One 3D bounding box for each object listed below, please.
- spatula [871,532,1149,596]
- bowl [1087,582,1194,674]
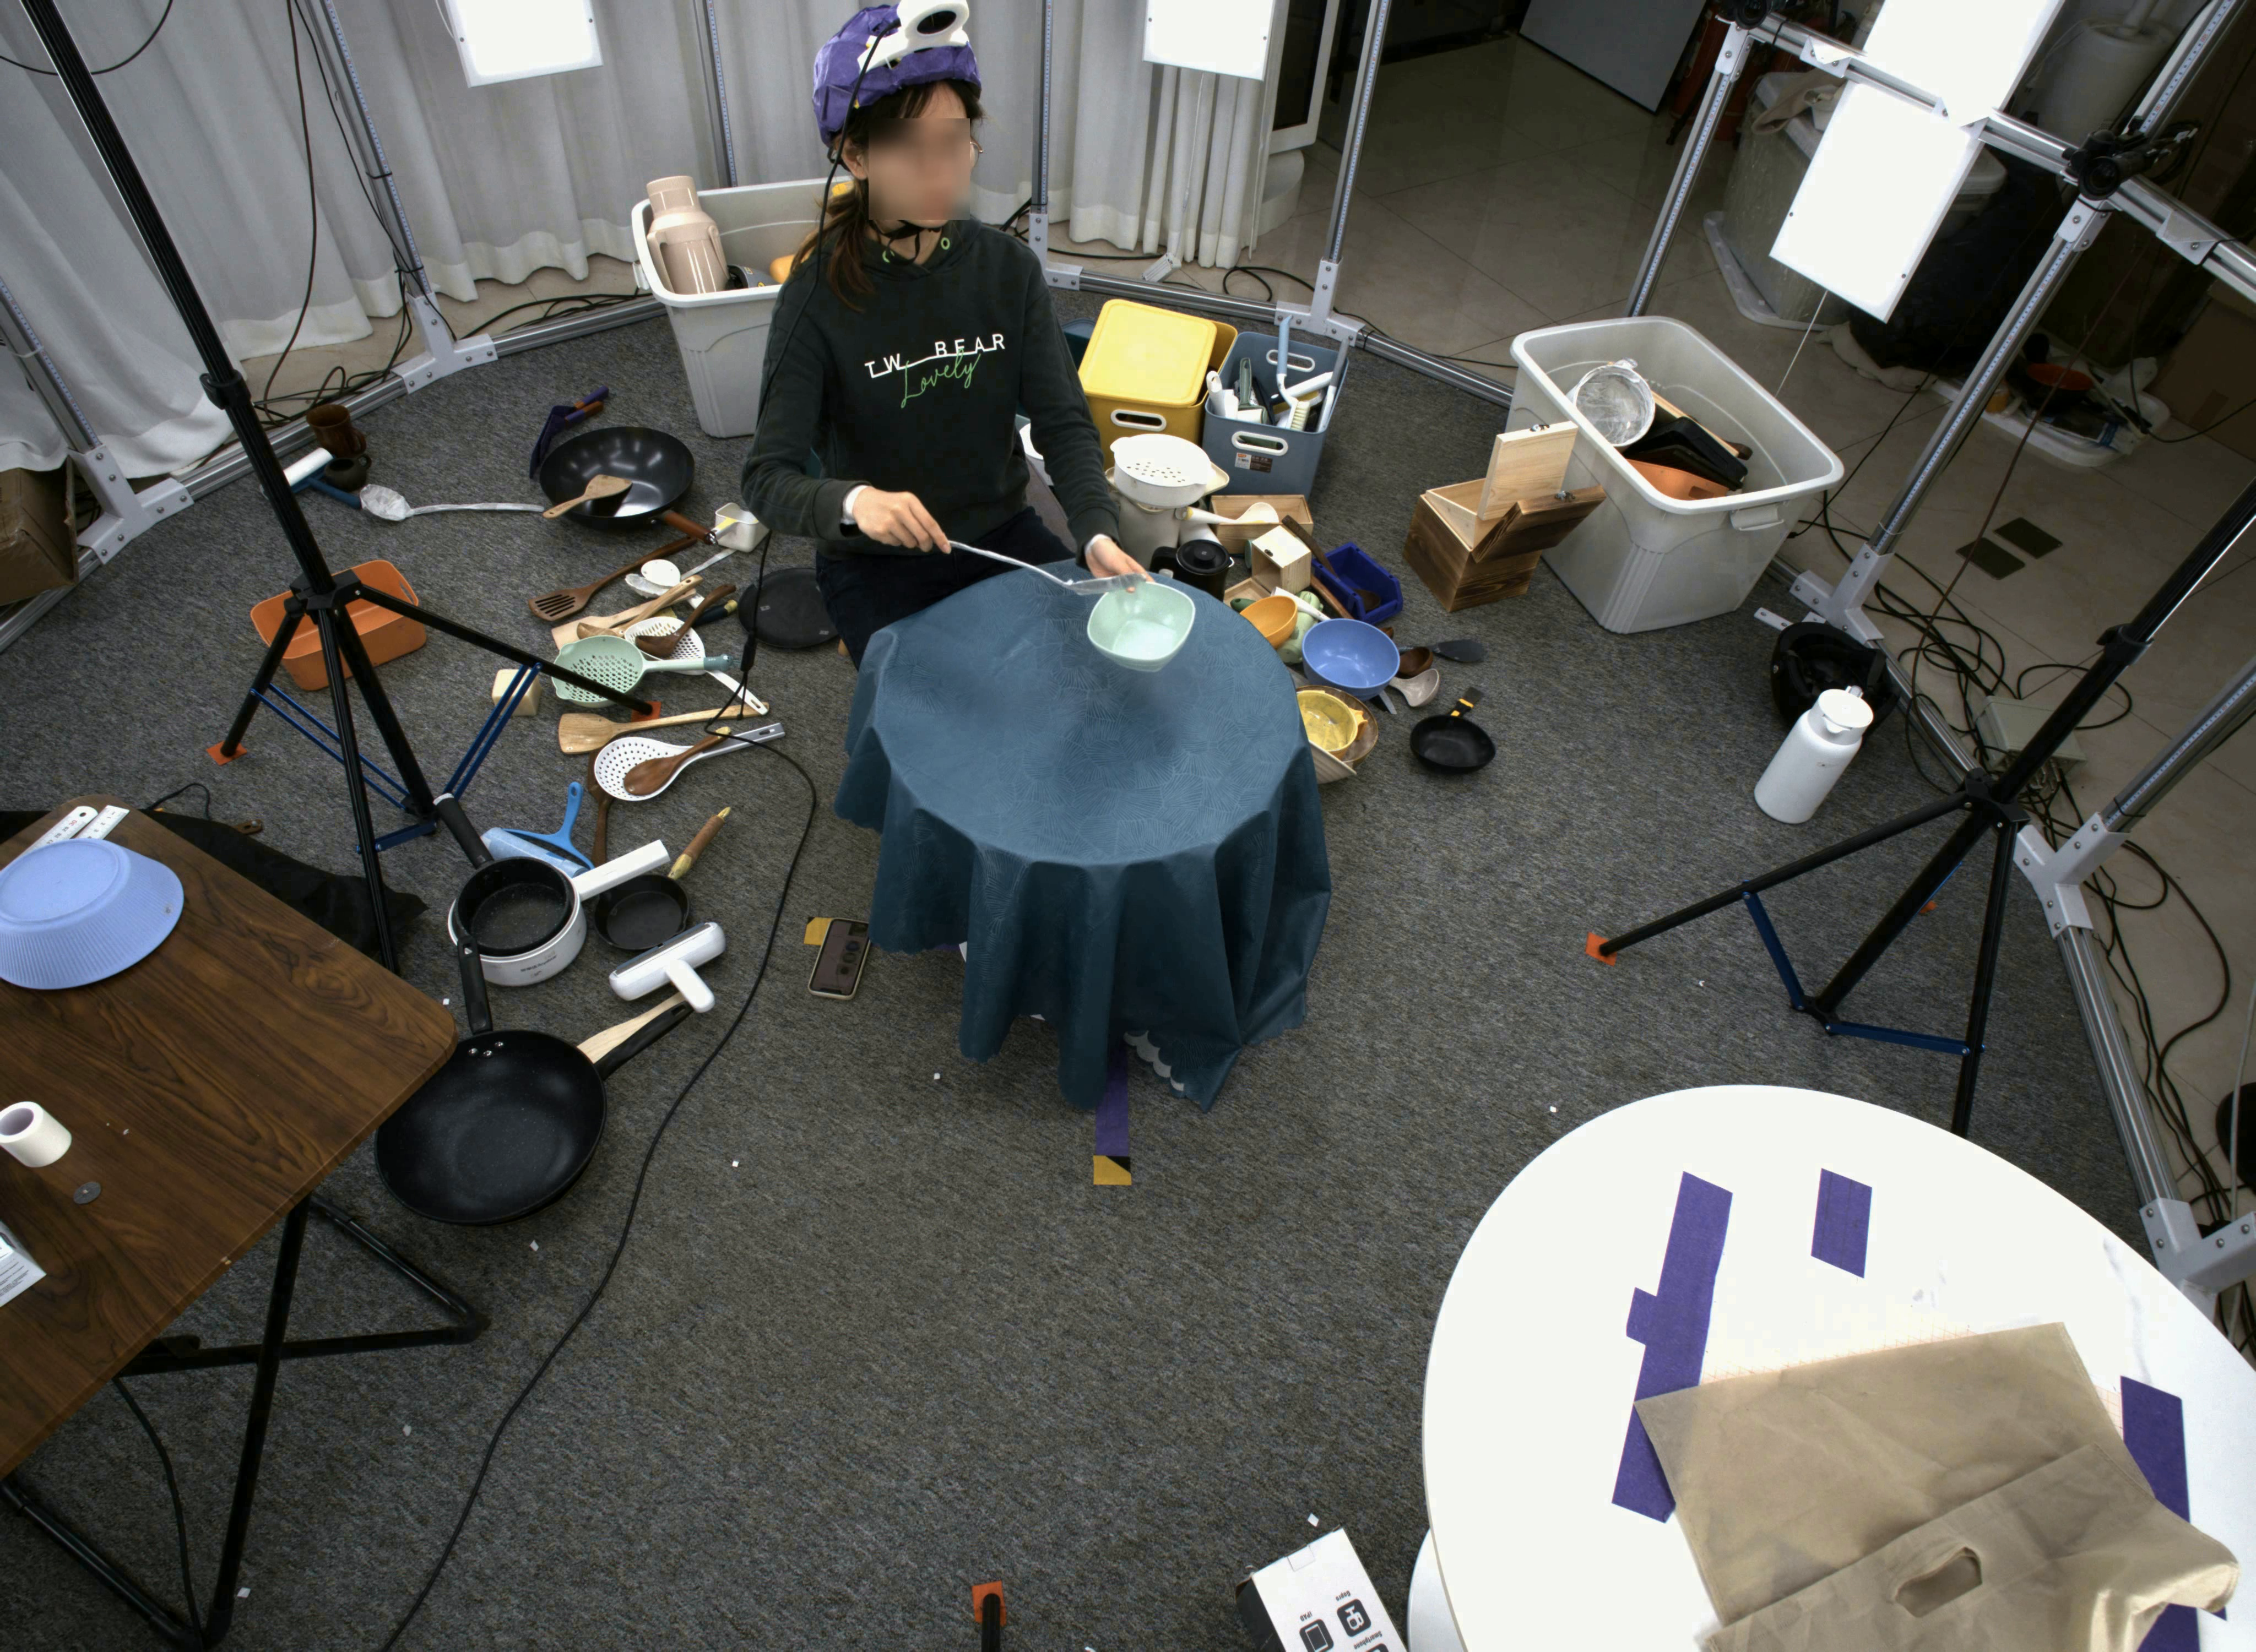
[{"bbox_3d":[-0.154,-0.349,1.678,0.365,0.099,0.045,16,91,0],"label":"spatula"},{"bbox_3d":[0.018,-0.264,1.774,0.151,0.057,0.155,-2,56,2],"label":"bowl"}]
